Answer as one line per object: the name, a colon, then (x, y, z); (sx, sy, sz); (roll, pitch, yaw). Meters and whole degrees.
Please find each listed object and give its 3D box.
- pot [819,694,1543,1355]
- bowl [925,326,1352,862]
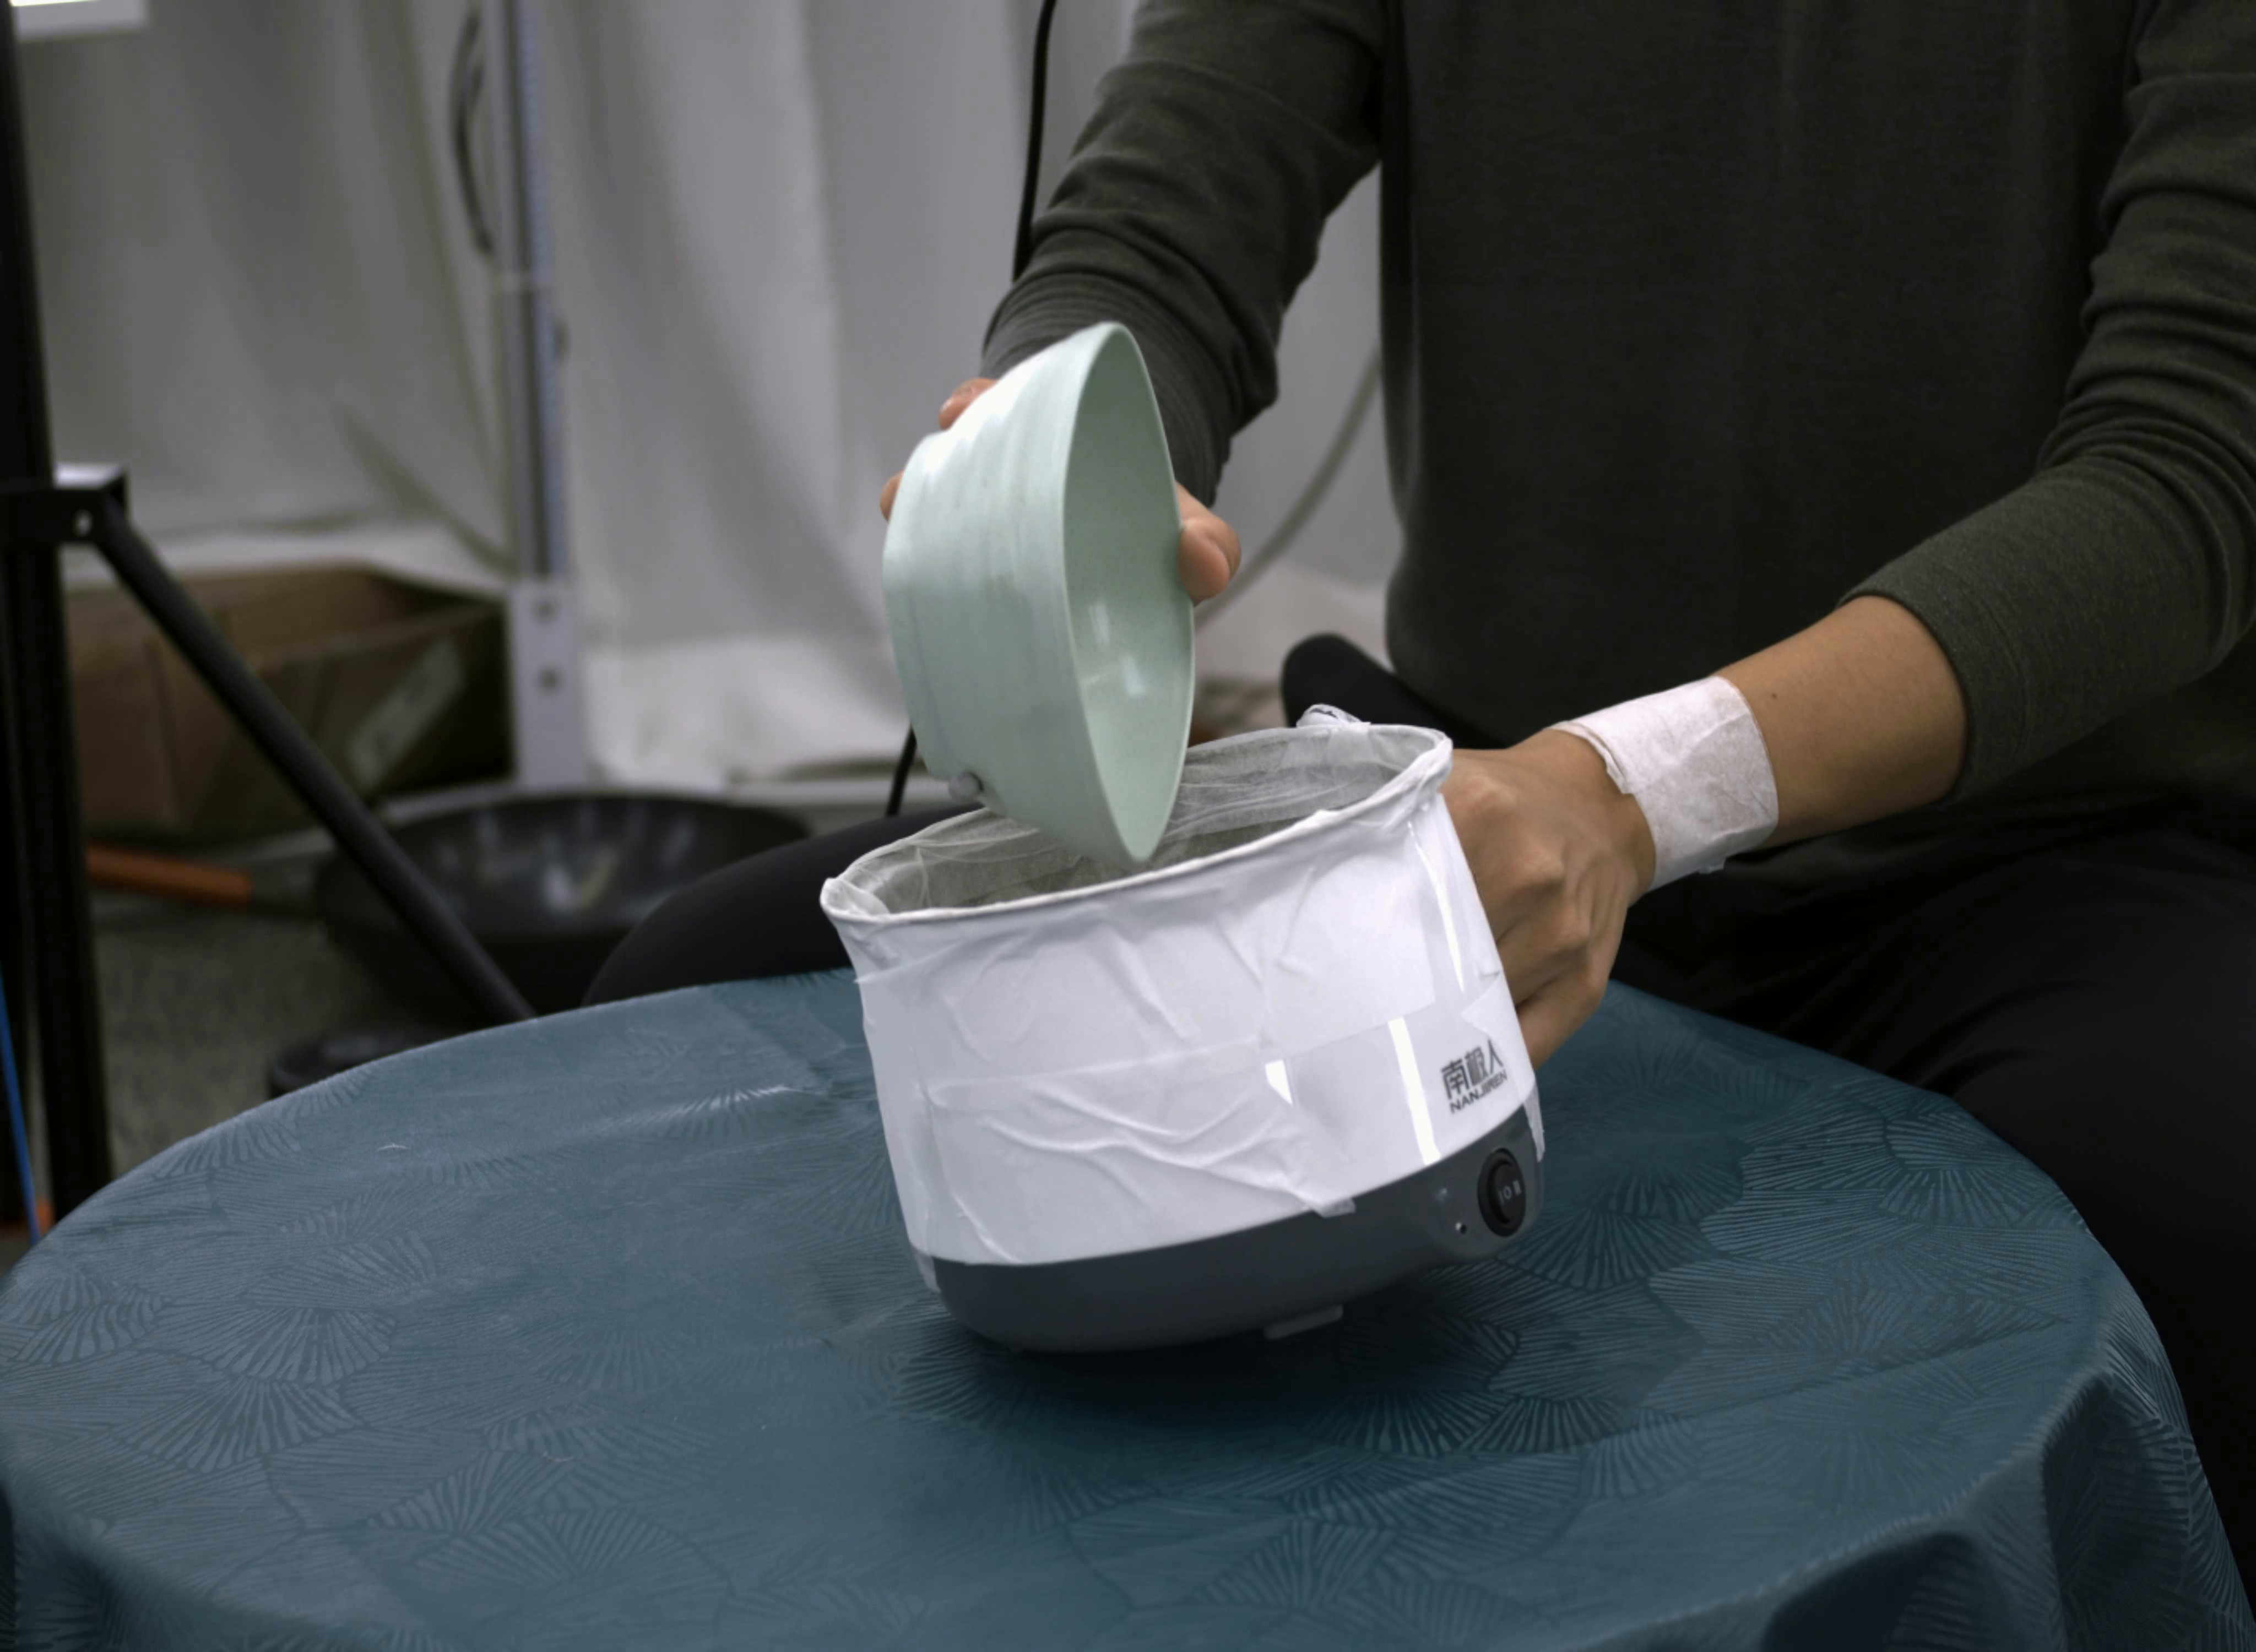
pot: (0.031, 0.049, 1.463); (0.182, 0.136, 0.229); (-7, 13, 35)
bowl: (-0.004, -0.058, 1.461); (0.060, 0.151, 0.148); (-10, 8, 36)
